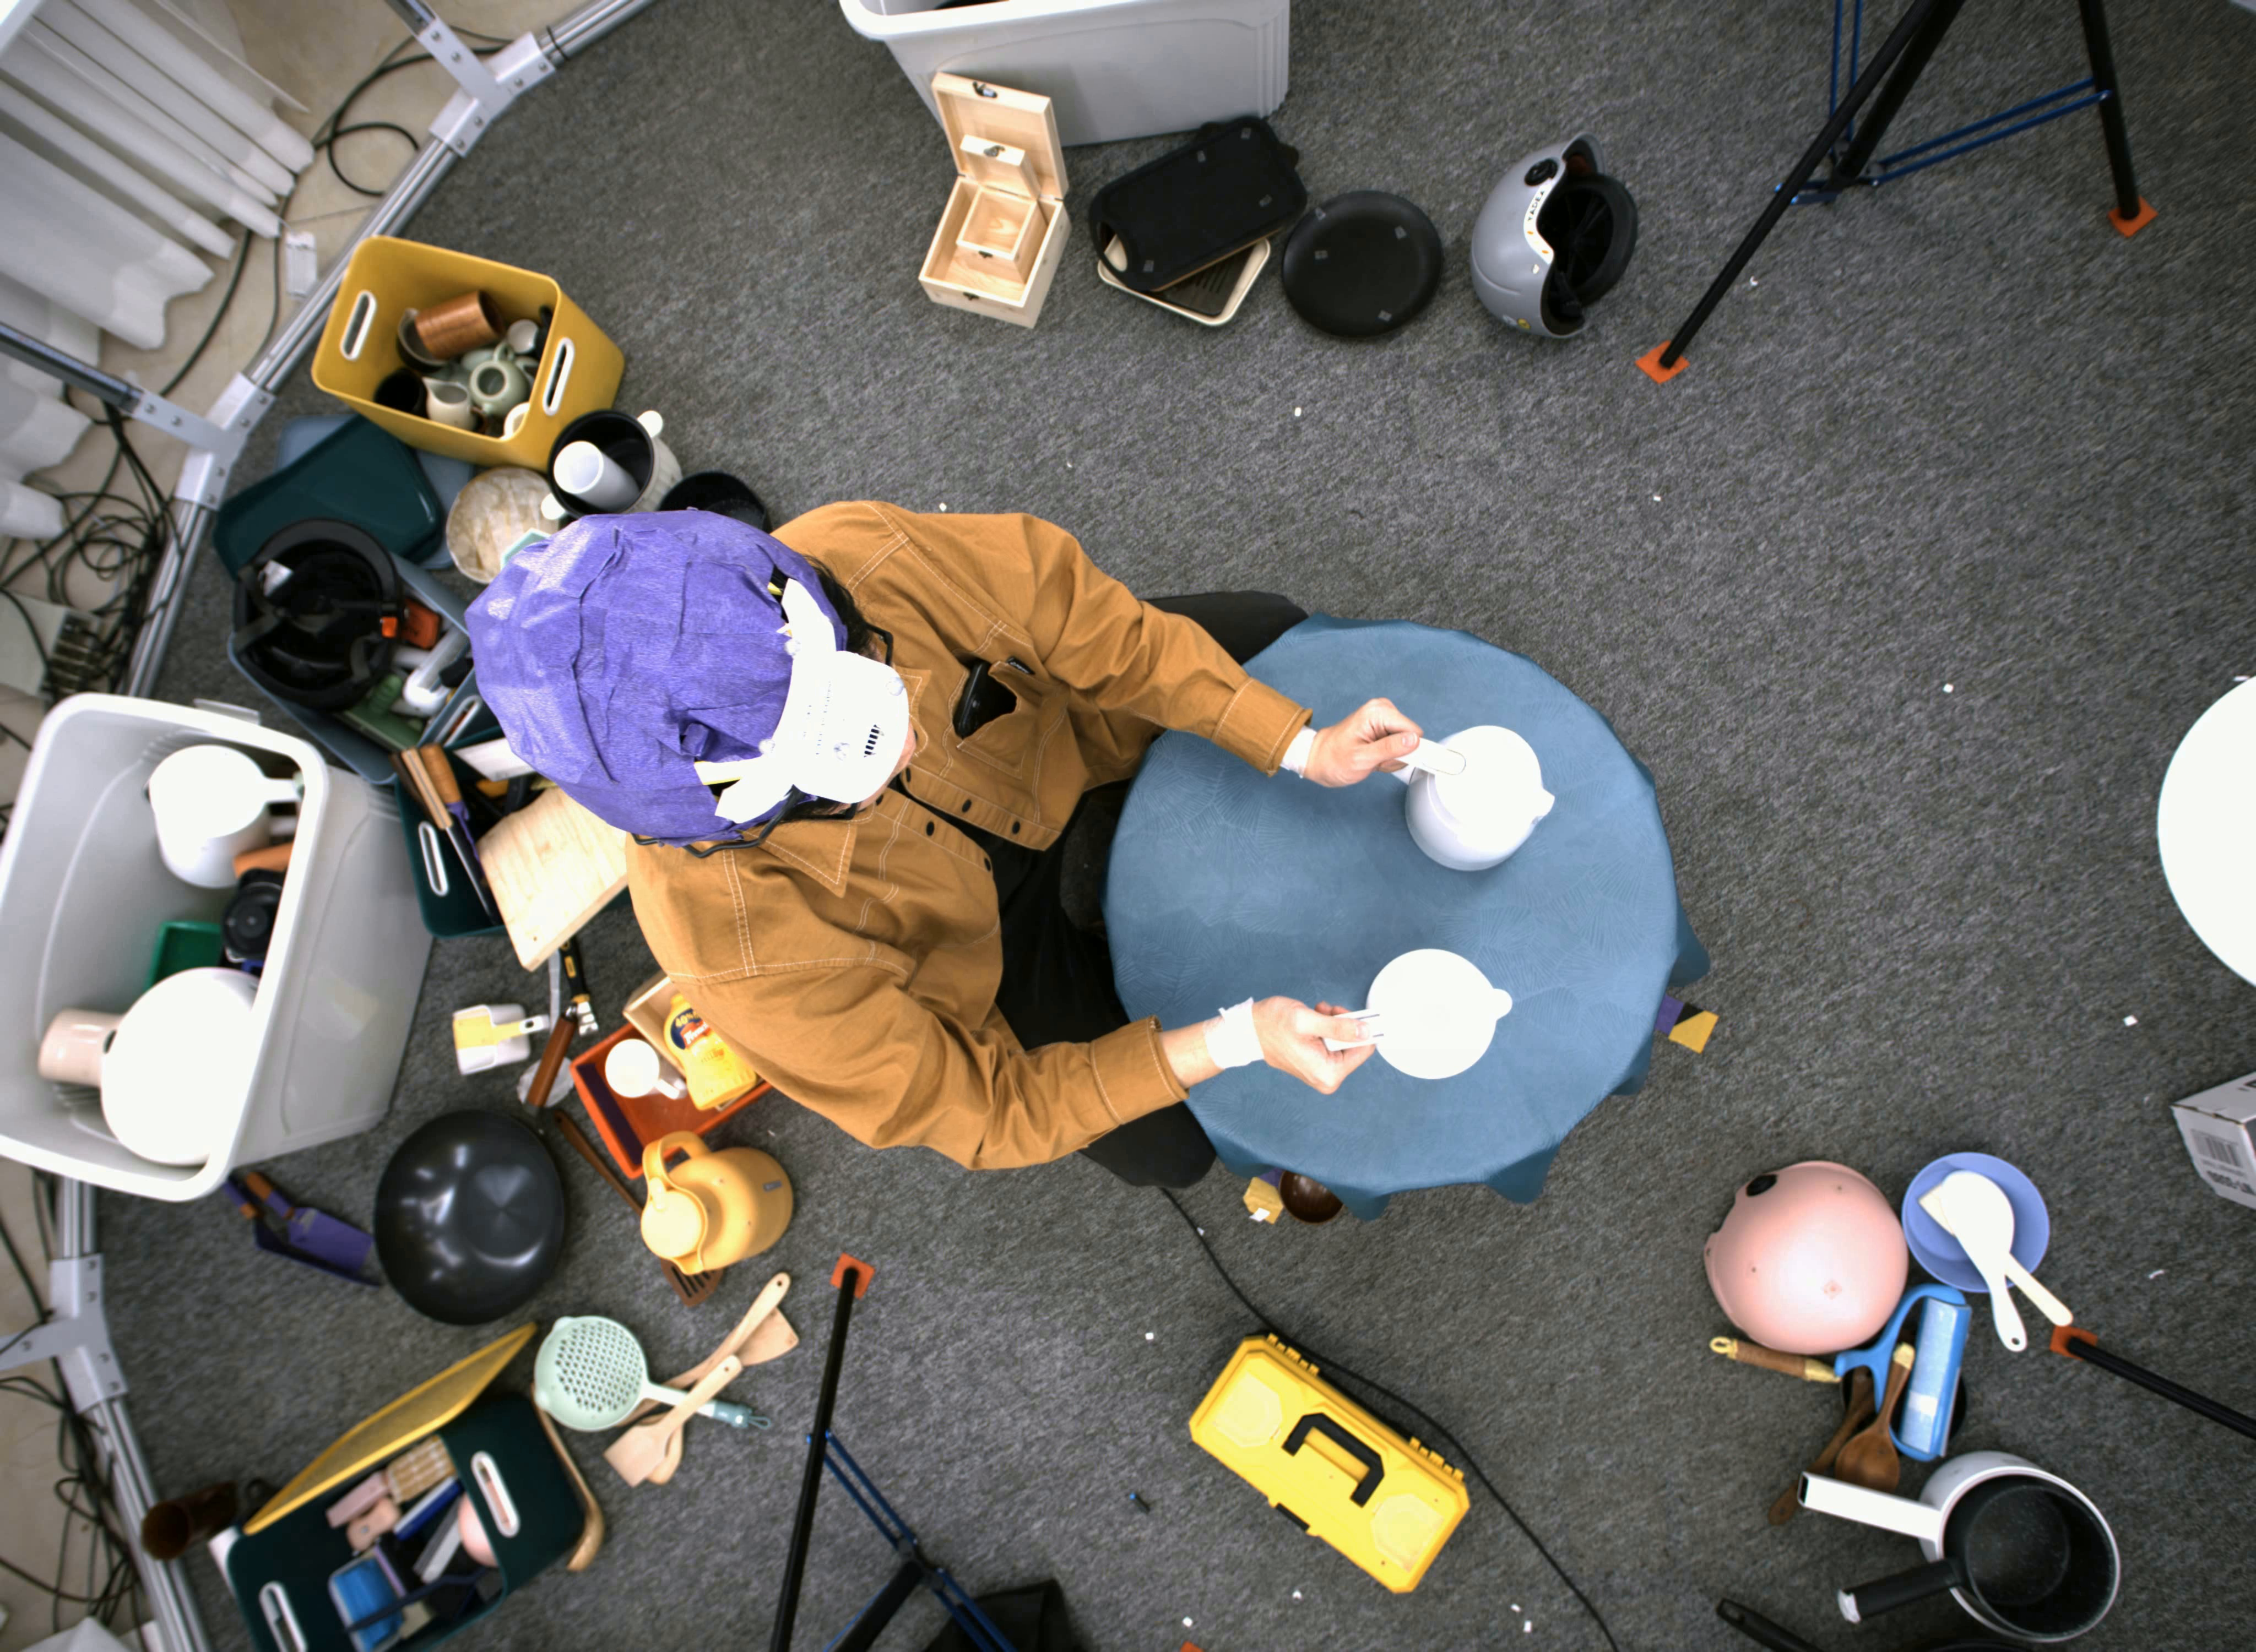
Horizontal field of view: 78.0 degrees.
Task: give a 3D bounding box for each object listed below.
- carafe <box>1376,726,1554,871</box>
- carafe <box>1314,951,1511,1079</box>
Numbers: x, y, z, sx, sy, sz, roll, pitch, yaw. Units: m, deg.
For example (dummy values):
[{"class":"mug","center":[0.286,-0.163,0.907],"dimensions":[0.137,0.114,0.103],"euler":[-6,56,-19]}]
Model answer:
[{"class":"carafe","center":[0.320,-0.040,1.330],"dimensions":[0.167,0.249,0.132],"euler":[25,90,12]},{"class":"carafe","center":[0.268,0.182,1.320],"dimensions":[0.174,0.269,0.123],"euler":[-13,84,9]}]
